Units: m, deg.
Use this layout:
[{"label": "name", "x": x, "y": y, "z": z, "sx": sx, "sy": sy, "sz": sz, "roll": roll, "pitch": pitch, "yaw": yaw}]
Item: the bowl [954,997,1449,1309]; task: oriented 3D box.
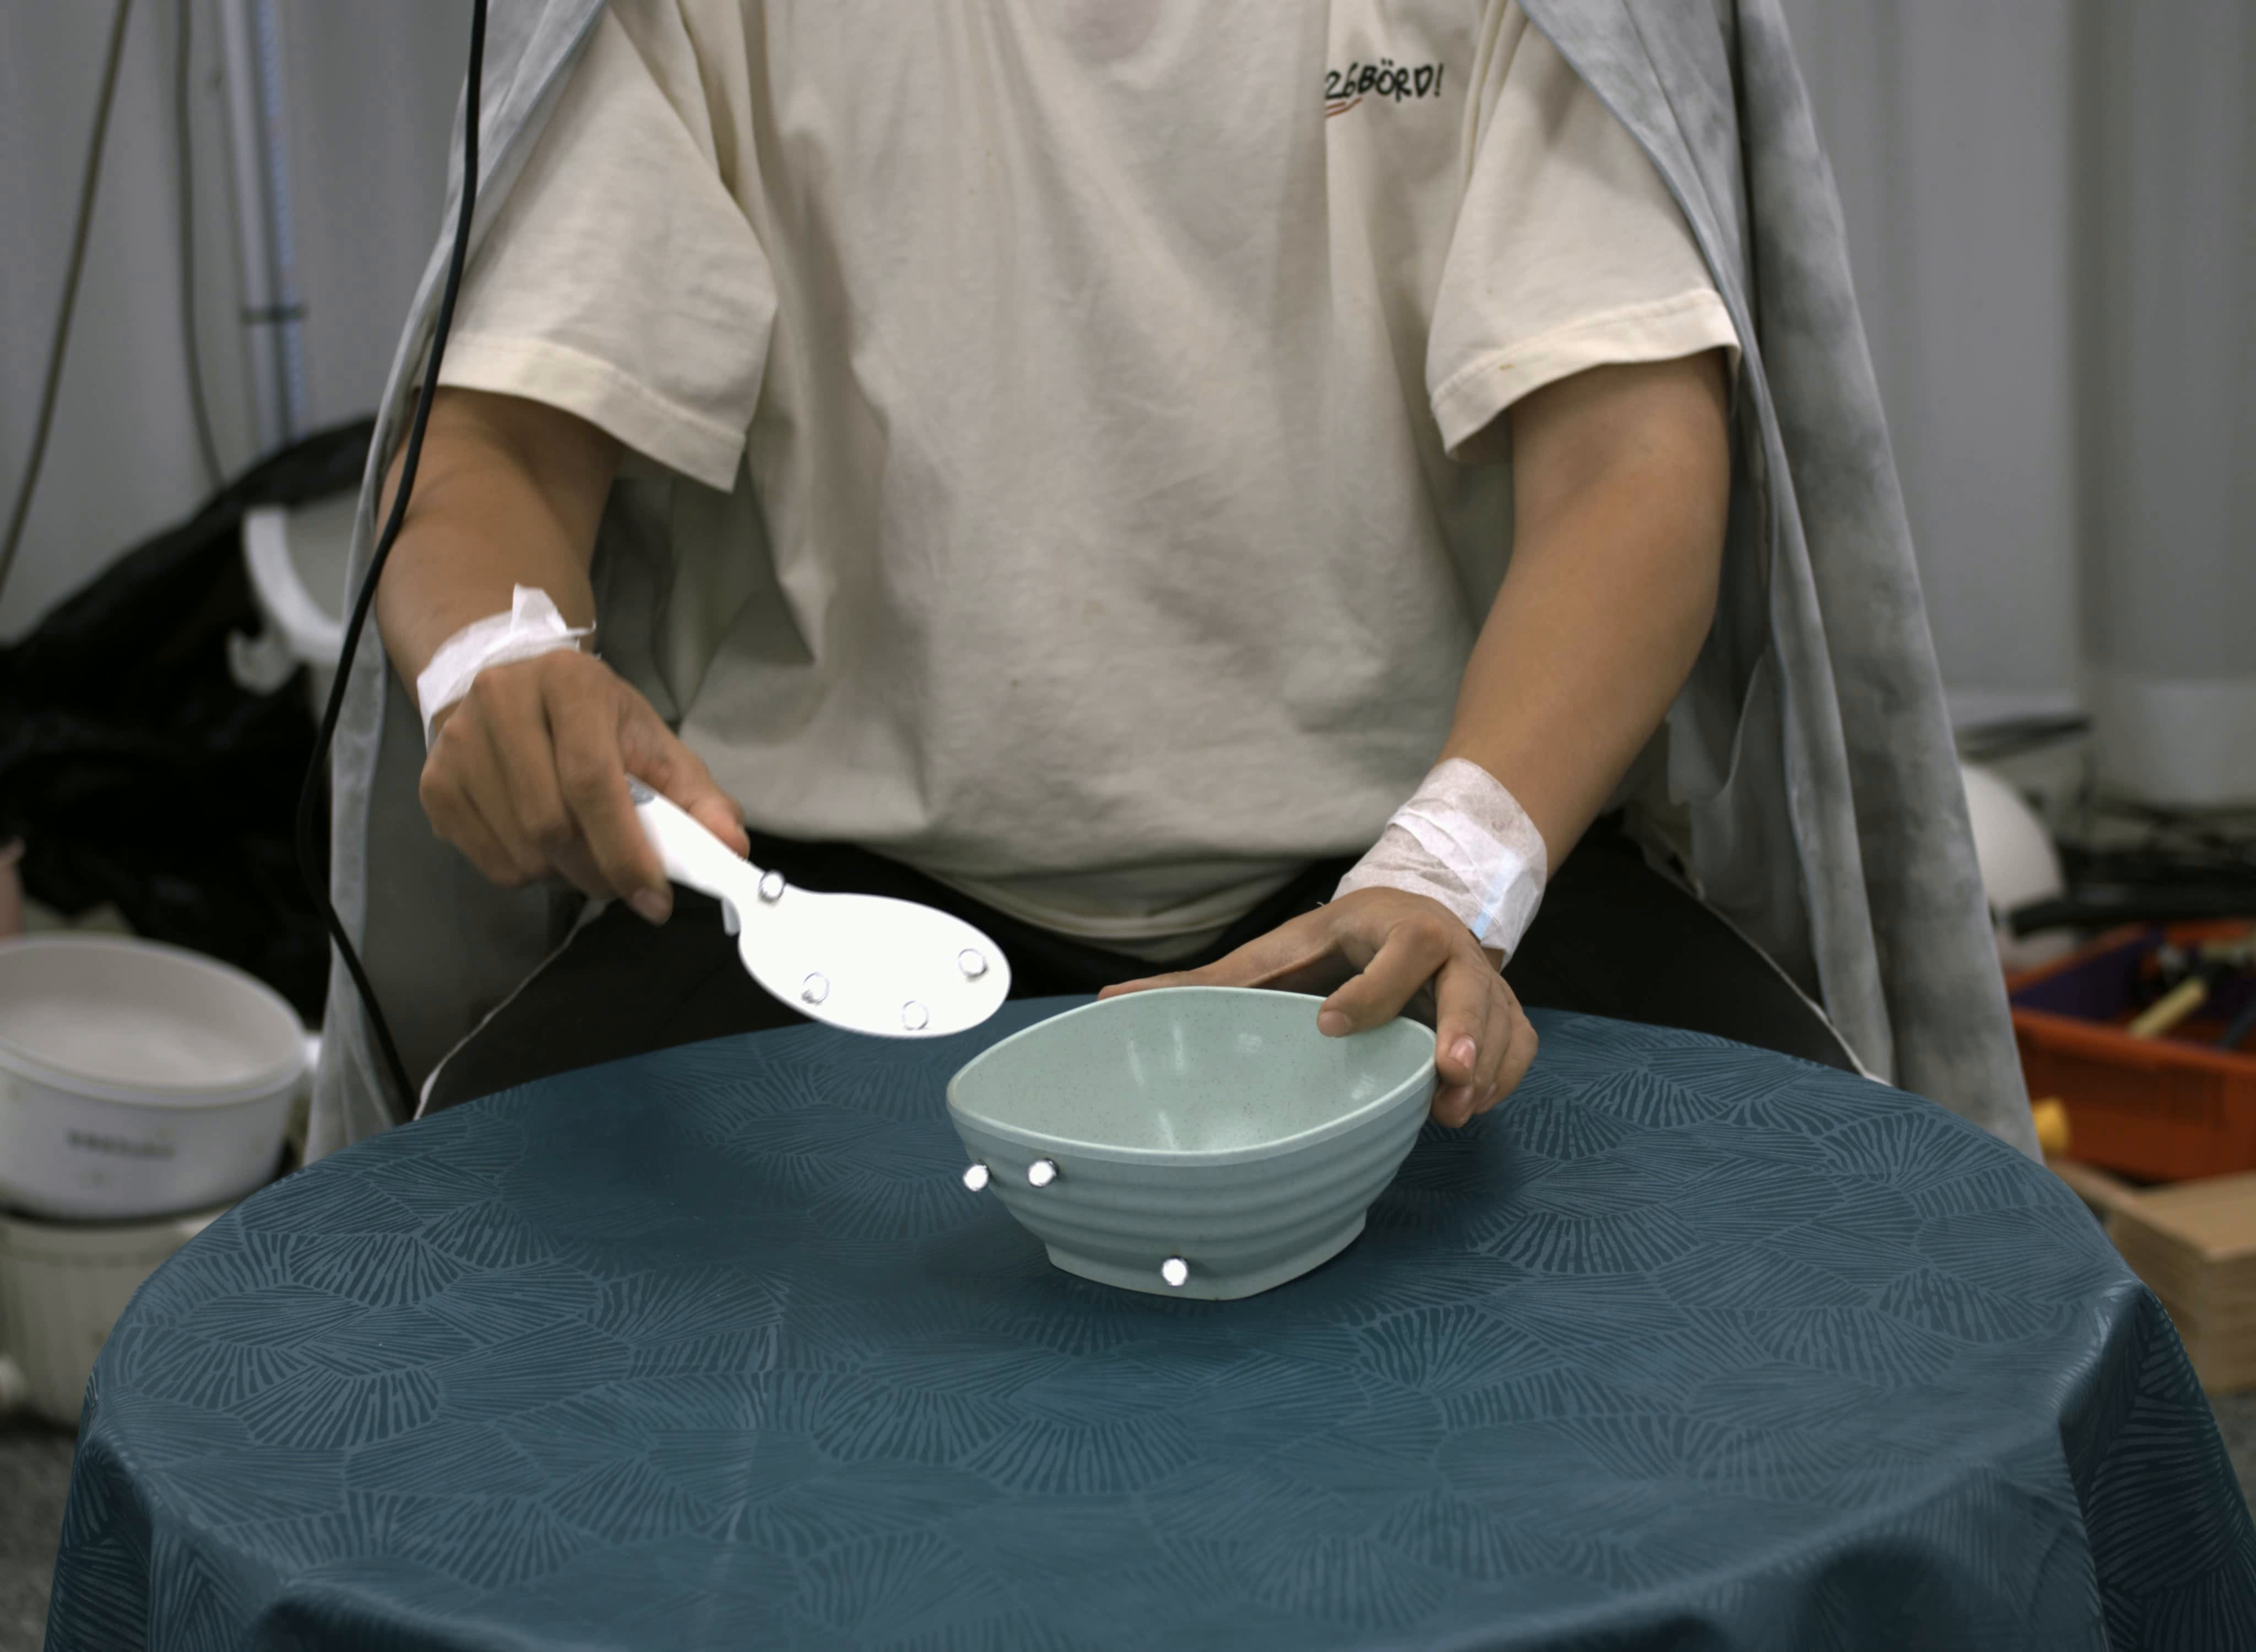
[{"label": "bowl", "x": 0.025, "y": 0.102, "z": 1.653, "sx": 0.151, "sy": 0.058, "sz": 0.152, "roll": -6, "pitch": 16, "yaw": 1}]

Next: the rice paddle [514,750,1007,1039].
[{"label": "rice paddle", "x": -0.115, "y": 0.022, "z": 1.679, "sx": 0.069, "sy": 0.029, "sz": 0.207, "roll": -25, "pitch": 36, "yaw": -35}]
